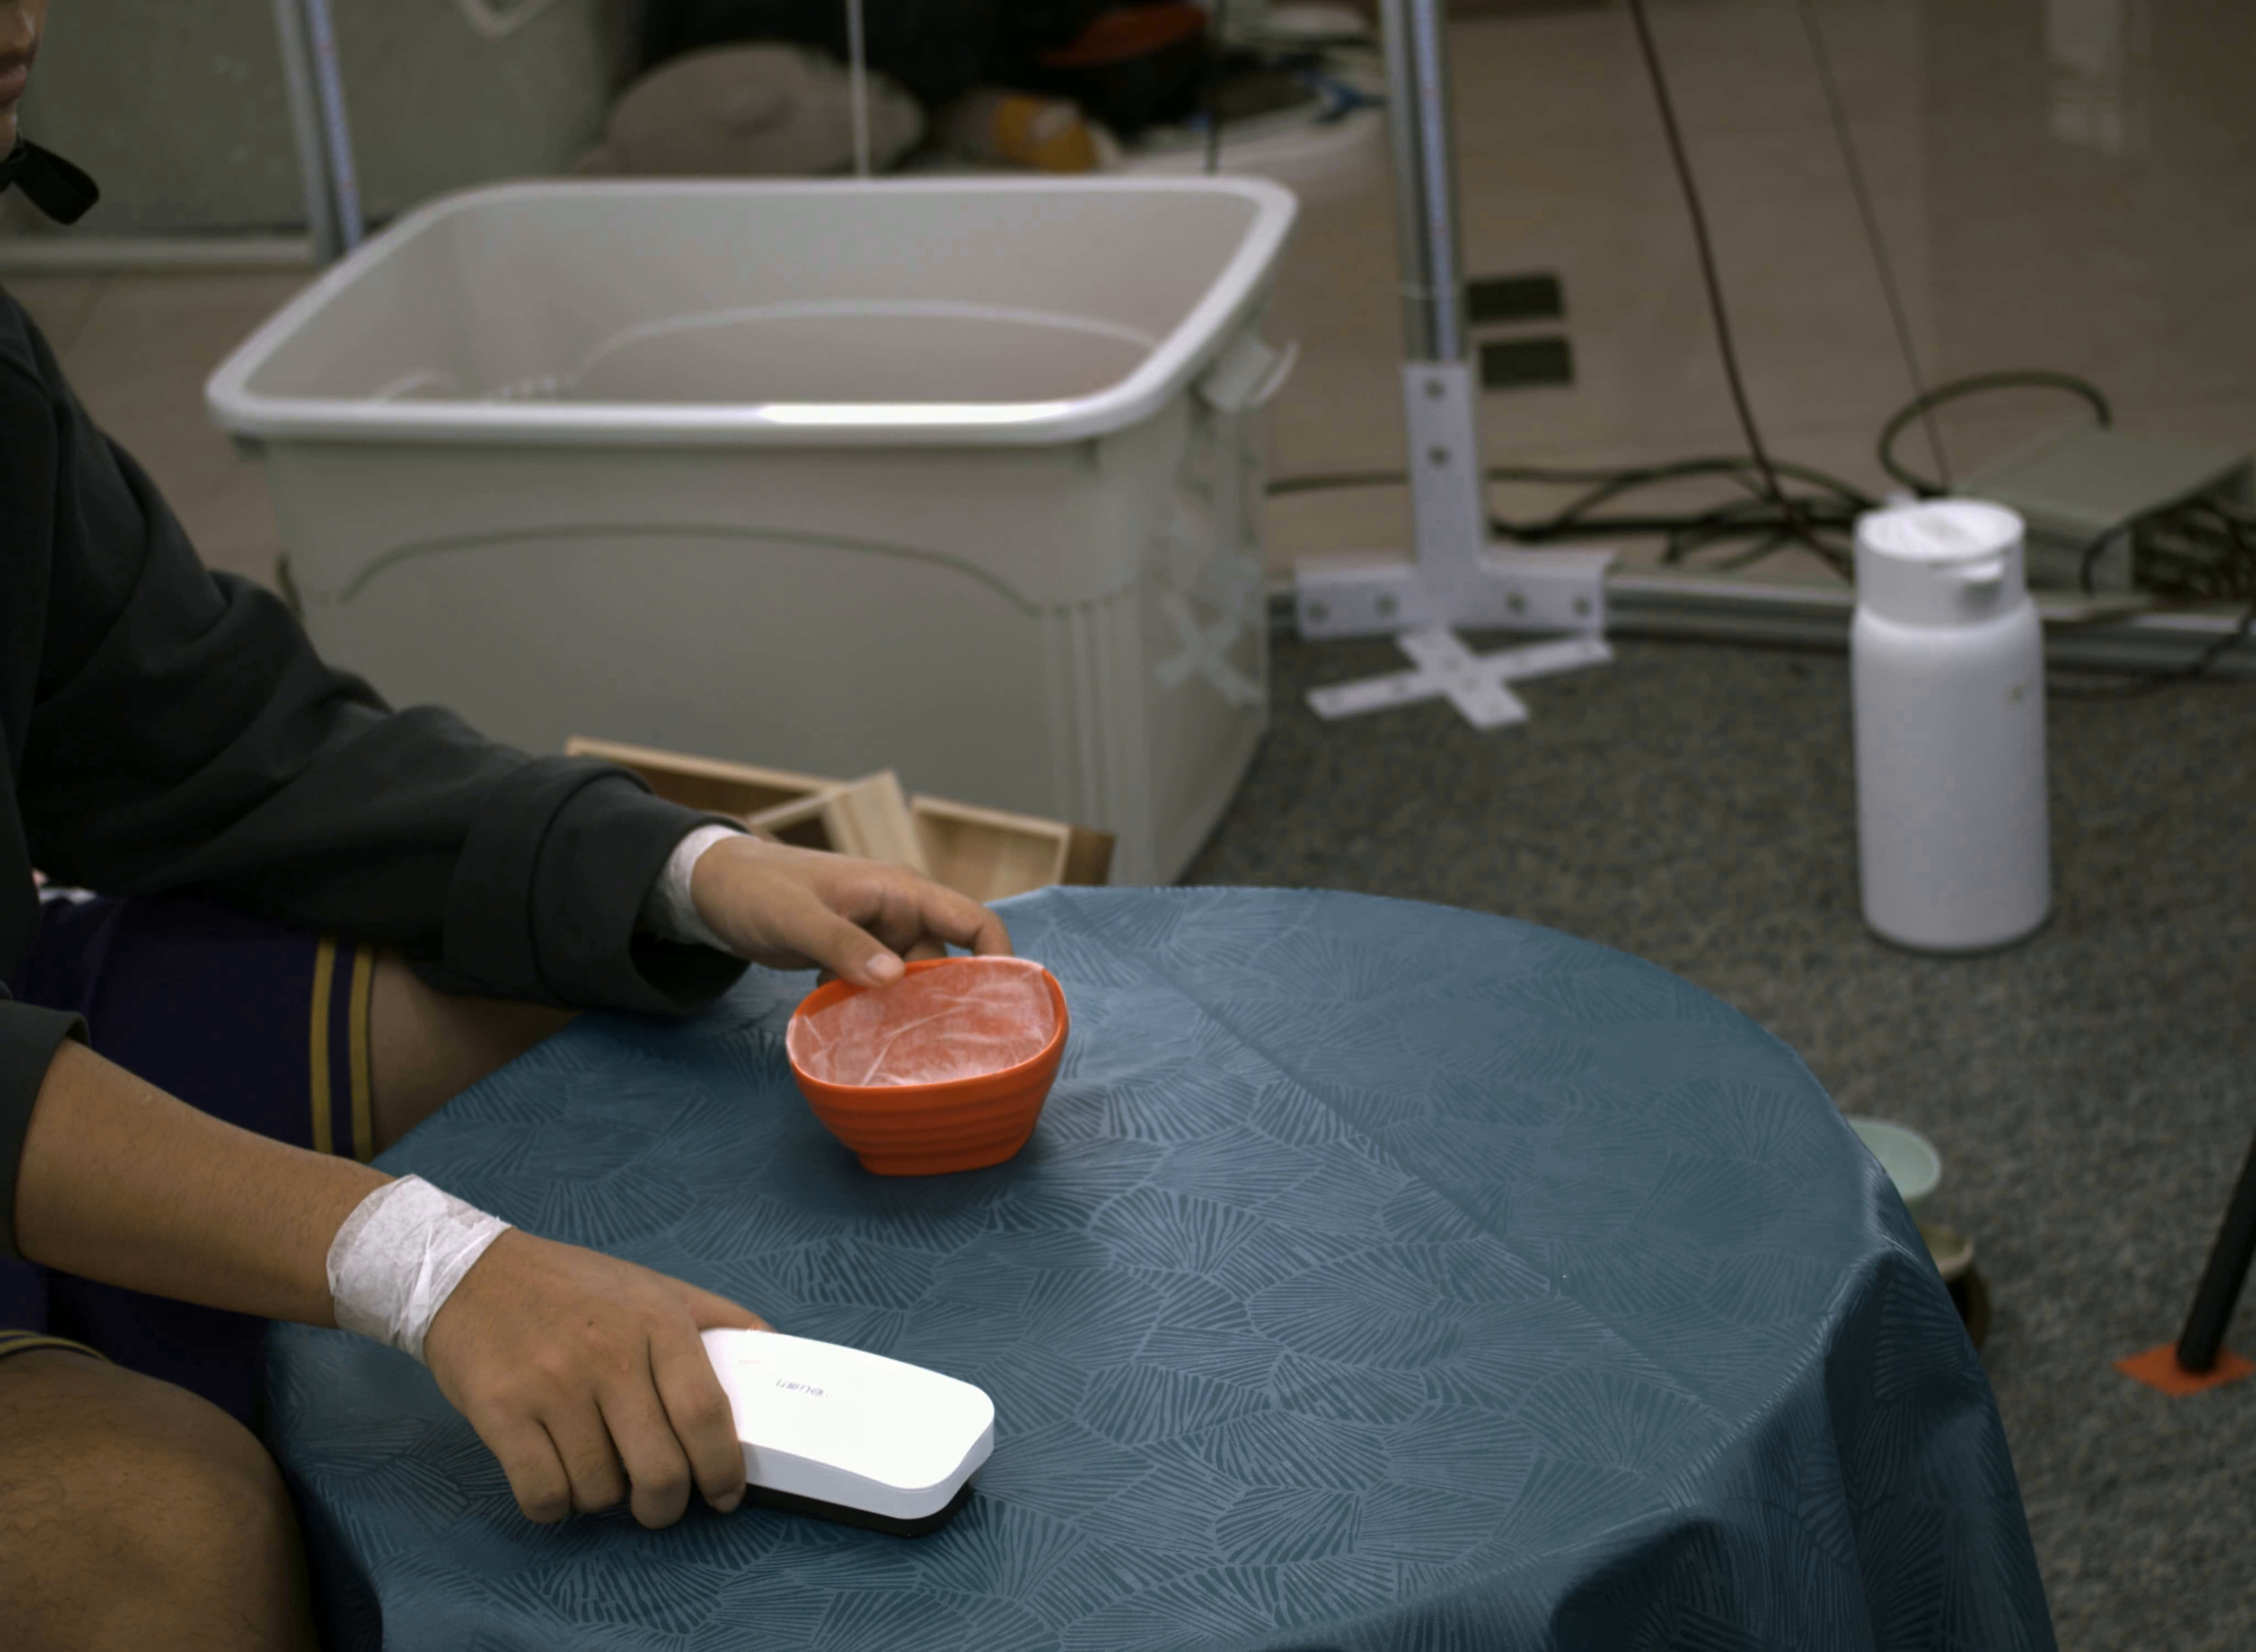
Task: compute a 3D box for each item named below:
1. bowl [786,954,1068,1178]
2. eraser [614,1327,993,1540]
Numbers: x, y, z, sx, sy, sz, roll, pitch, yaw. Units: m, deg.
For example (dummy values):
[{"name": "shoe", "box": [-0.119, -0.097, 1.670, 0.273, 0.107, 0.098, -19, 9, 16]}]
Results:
[{"name": "bowl", "box": [-0.075, 0.097, 2.194, 0.119, 0.052, 0.117, -5, 26, 3]}, {"name": "eraser", "box": [-0.112, 0.209, 1.977, 0.130, 0.035, 0.062, 12, 33, 25]}]
